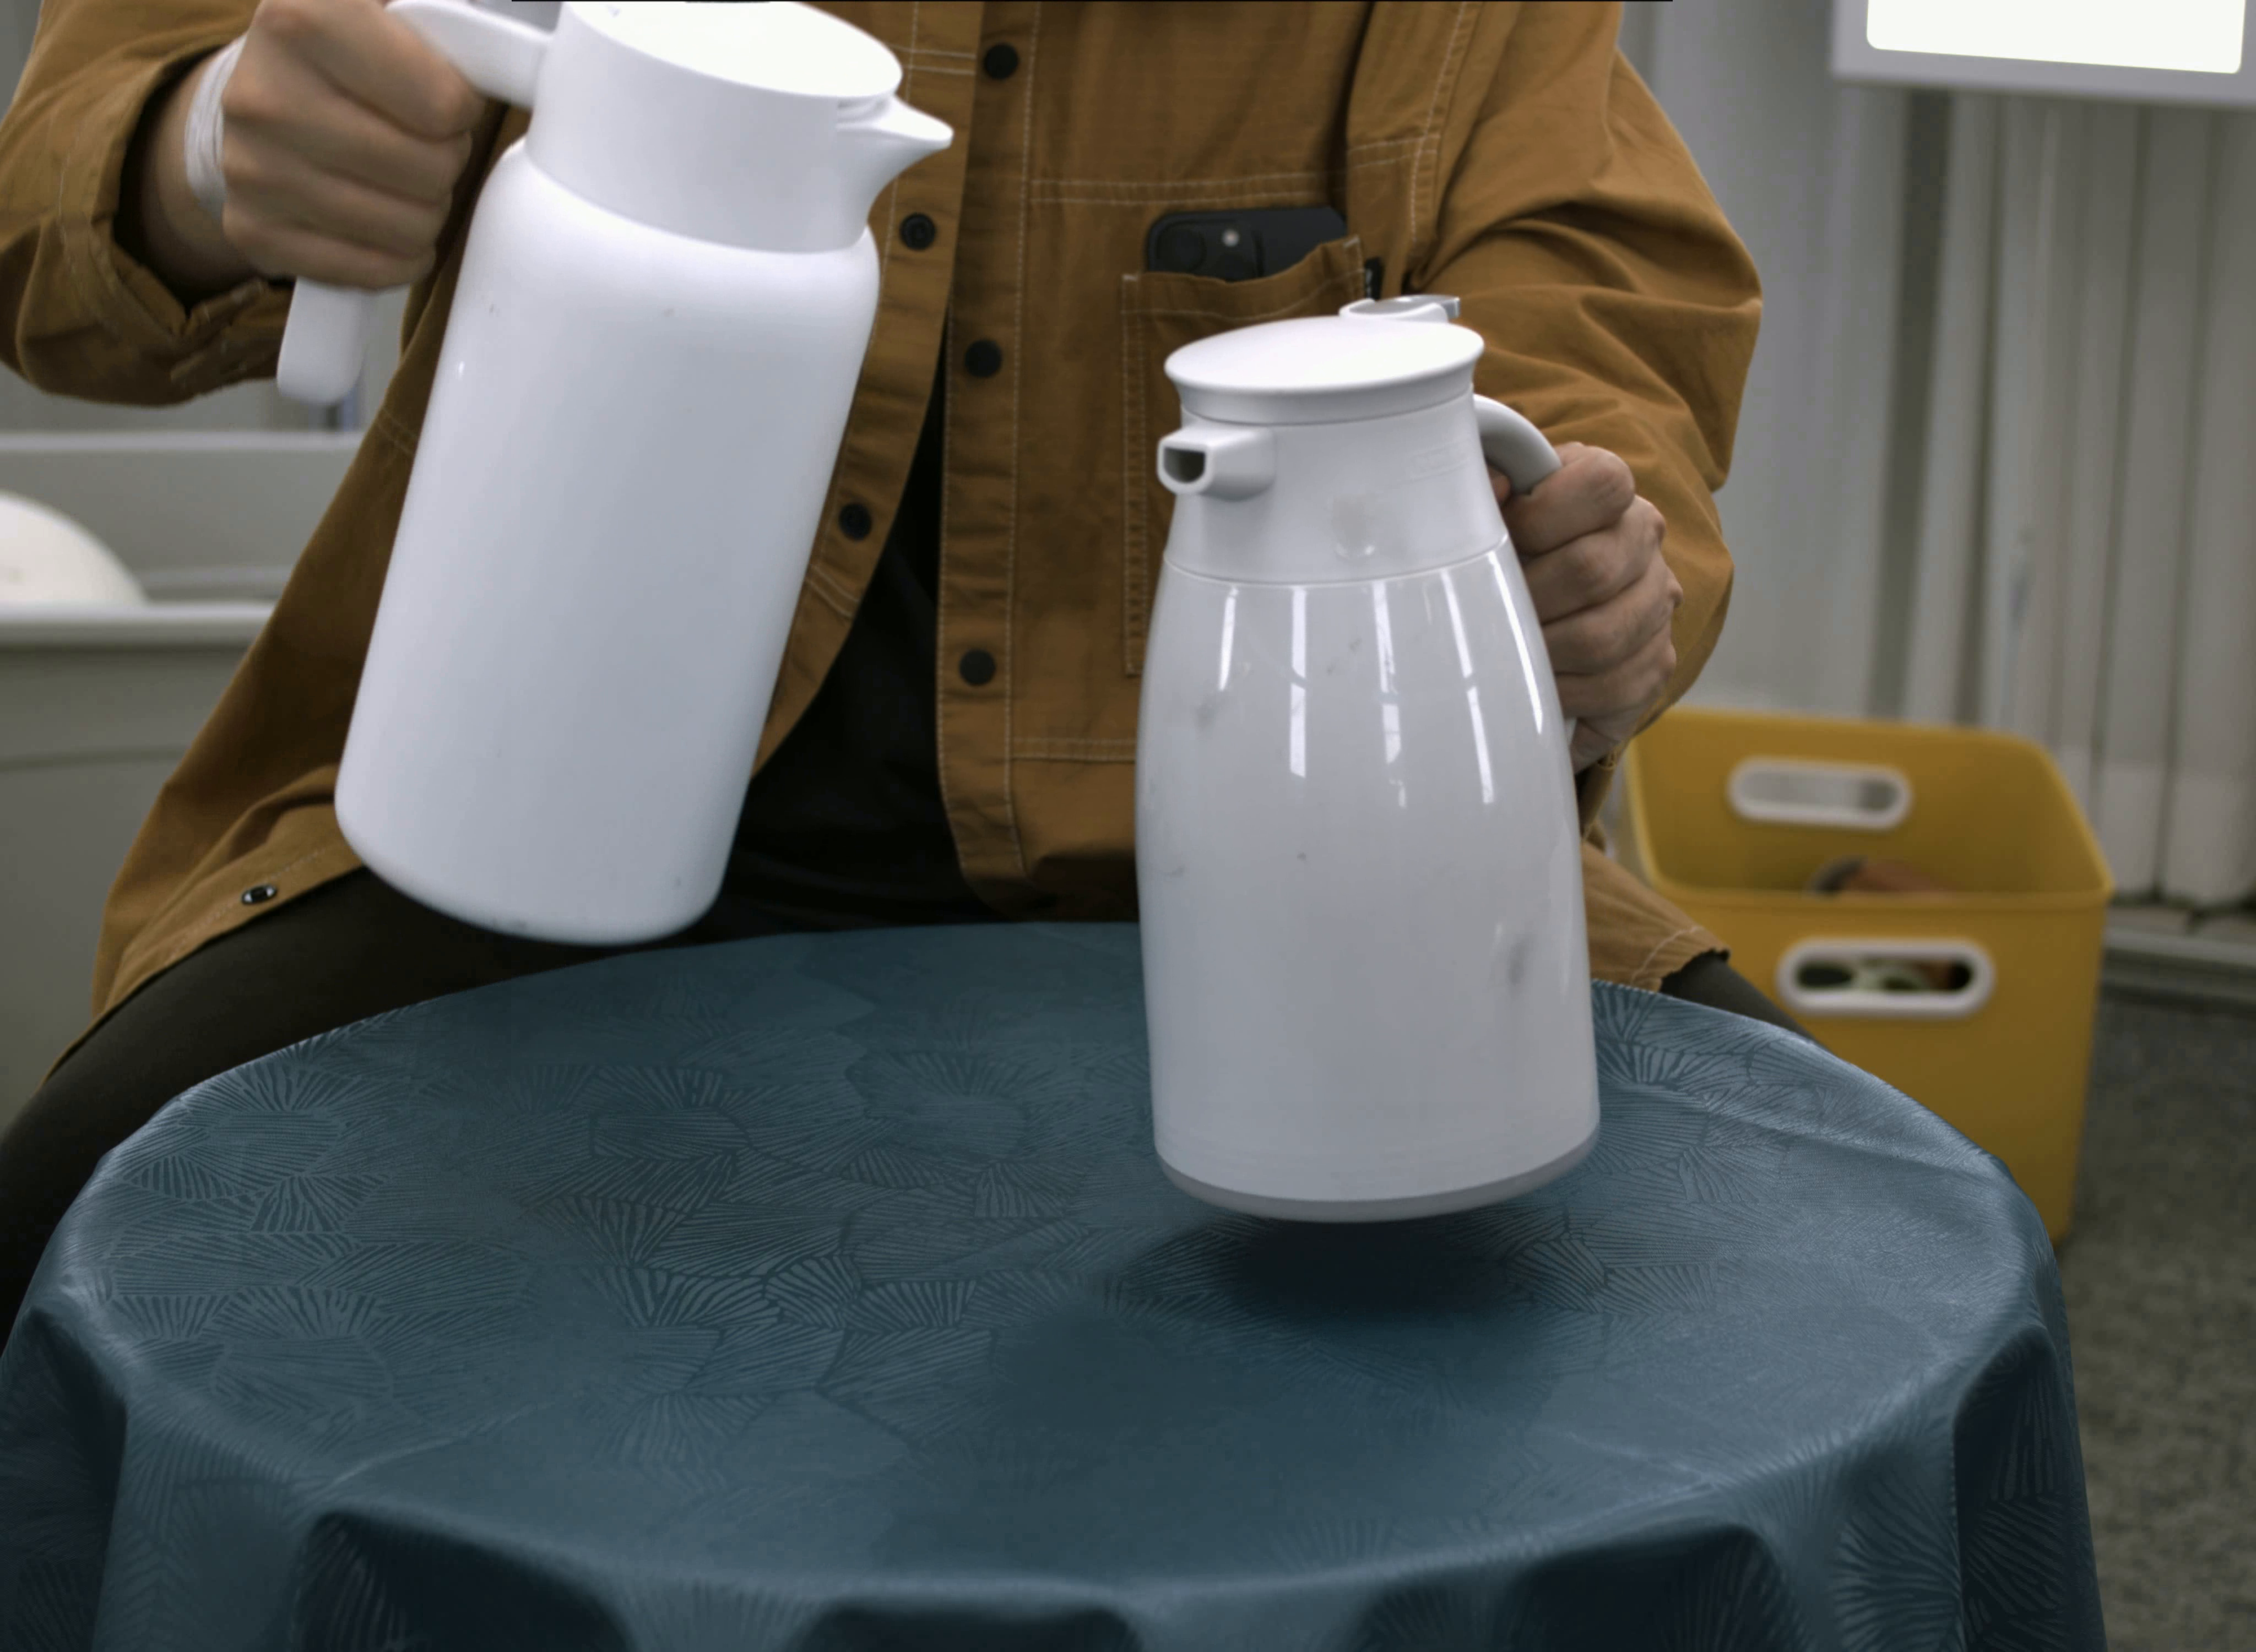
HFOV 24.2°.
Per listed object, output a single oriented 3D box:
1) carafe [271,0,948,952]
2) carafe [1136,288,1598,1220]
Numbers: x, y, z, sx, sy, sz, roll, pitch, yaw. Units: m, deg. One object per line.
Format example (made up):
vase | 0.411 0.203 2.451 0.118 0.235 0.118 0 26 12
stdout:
carafe | -0.162 -0.110 1.505 0.172 0.271 0.123 19 24 6
carafe | 0.077 -0.029 1.536 0.131 0.251 0.168 10 21 40
